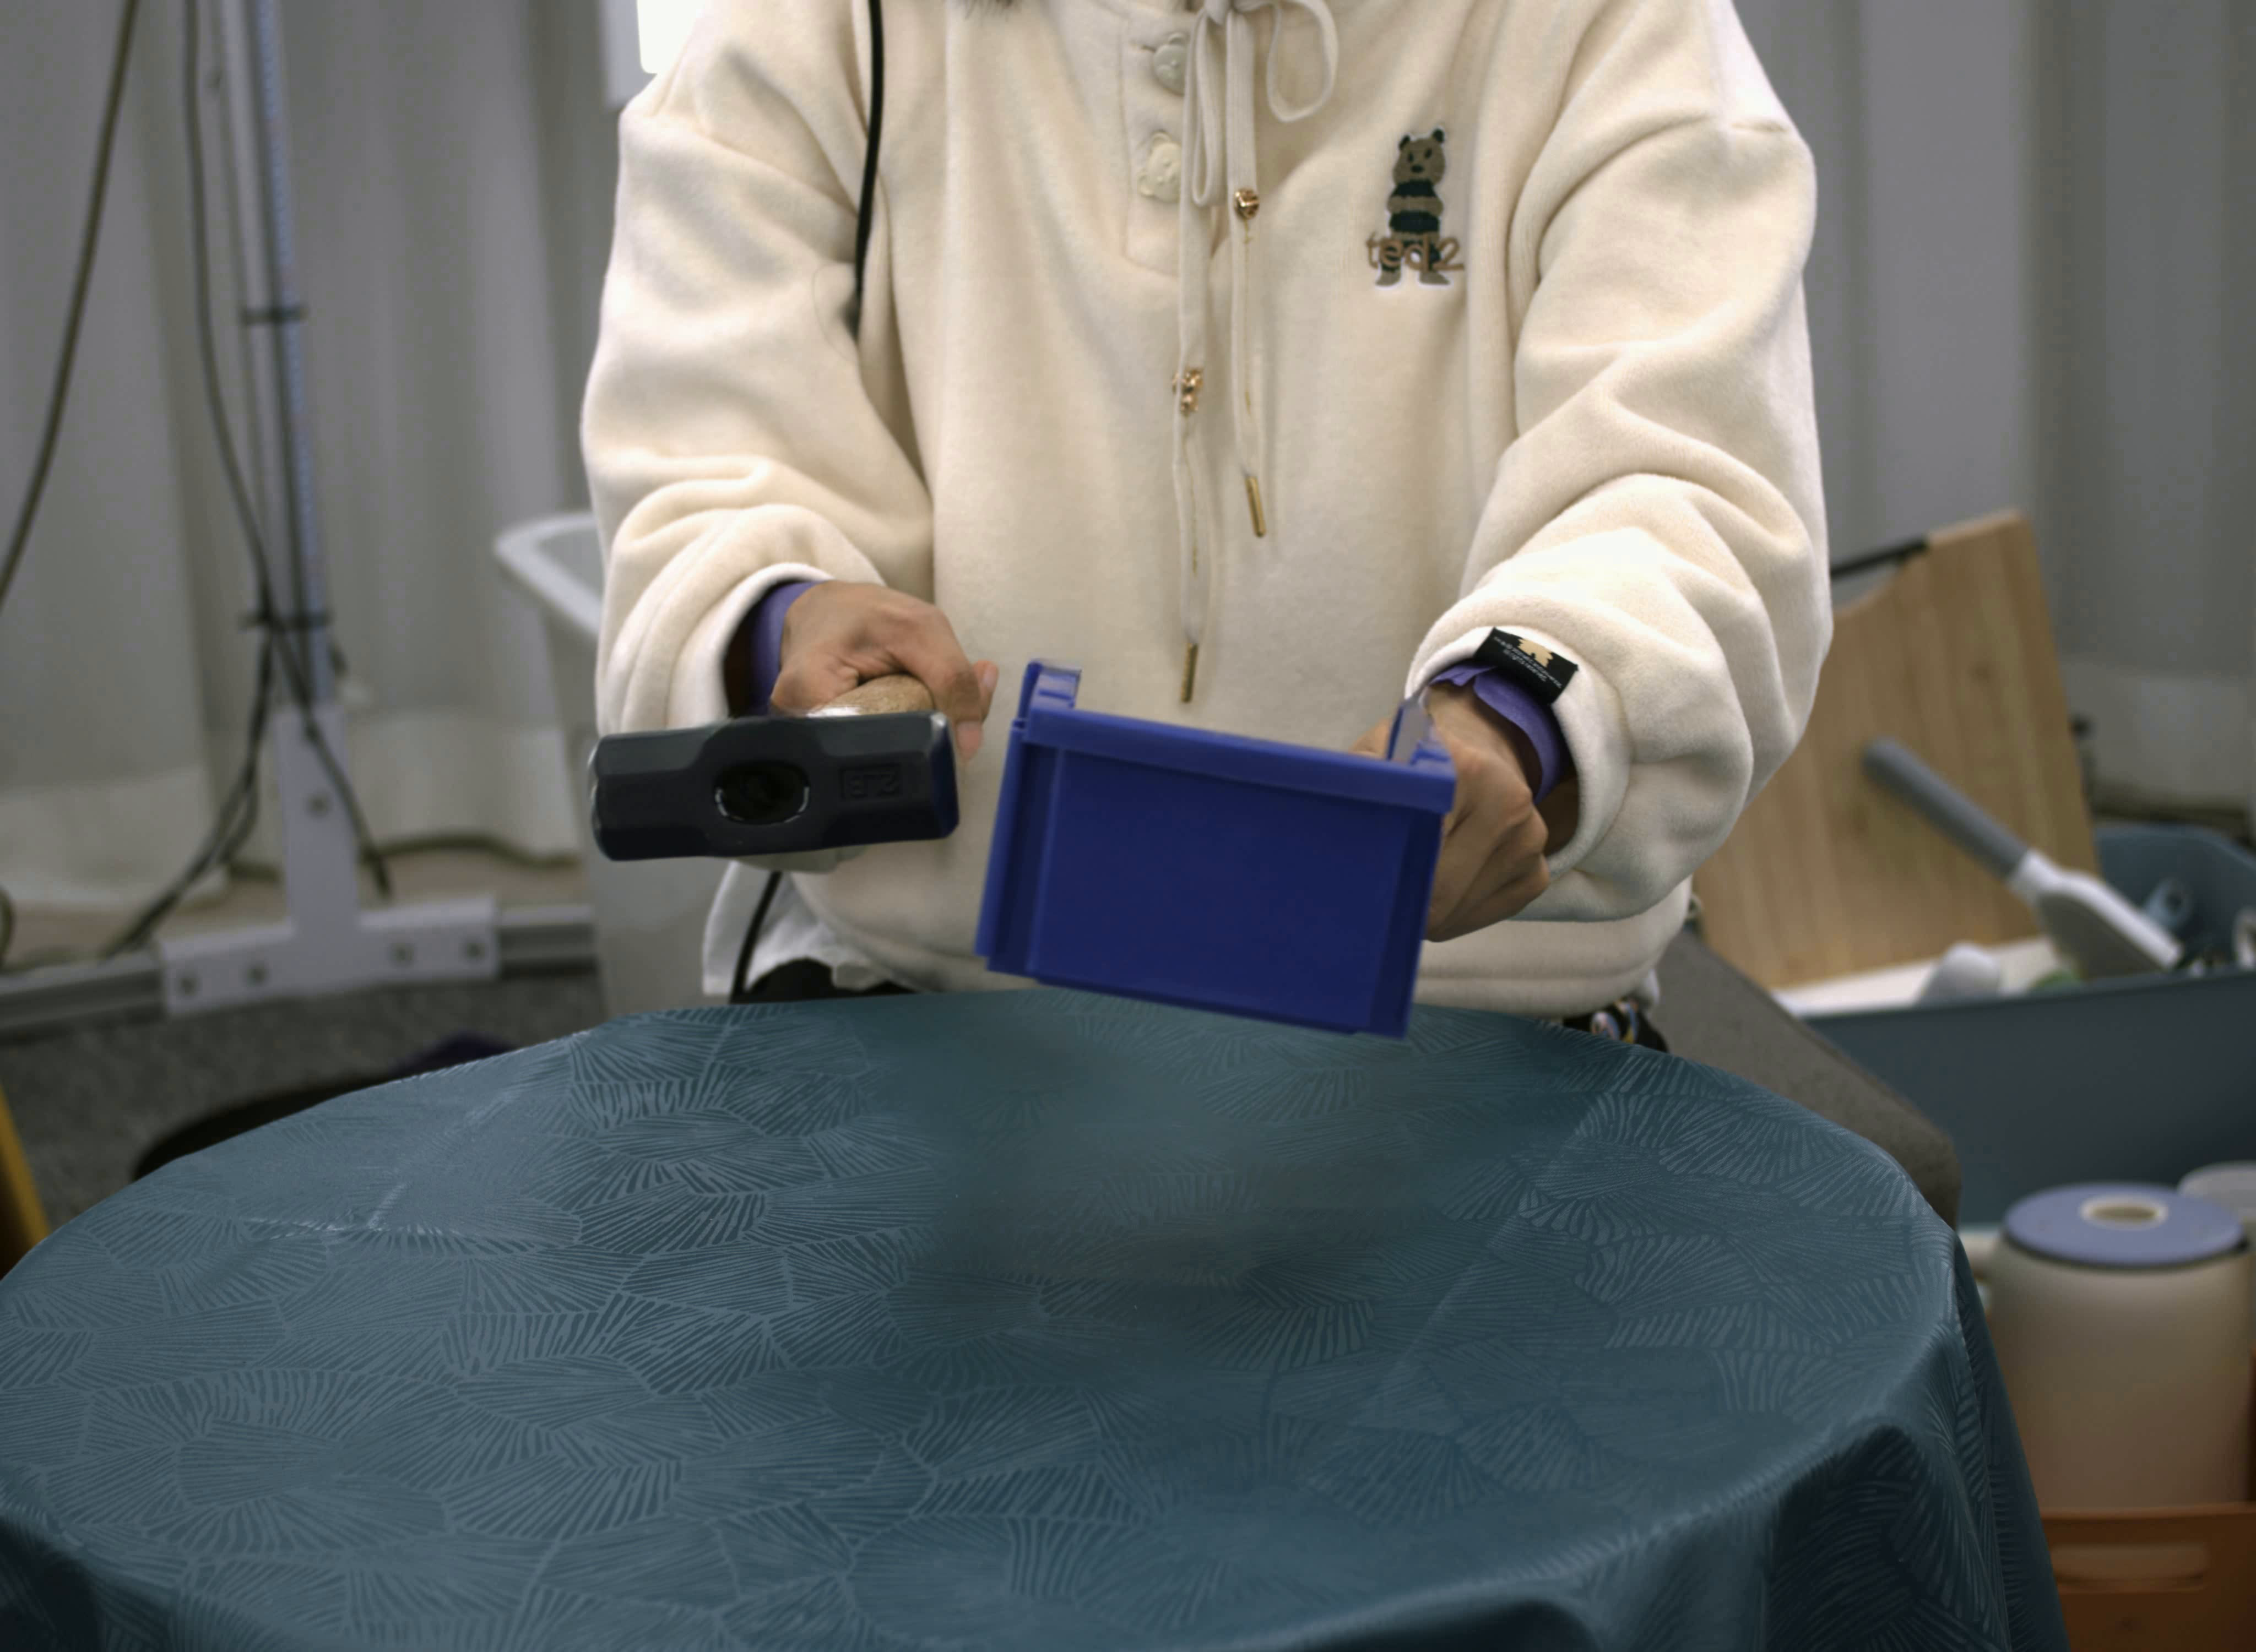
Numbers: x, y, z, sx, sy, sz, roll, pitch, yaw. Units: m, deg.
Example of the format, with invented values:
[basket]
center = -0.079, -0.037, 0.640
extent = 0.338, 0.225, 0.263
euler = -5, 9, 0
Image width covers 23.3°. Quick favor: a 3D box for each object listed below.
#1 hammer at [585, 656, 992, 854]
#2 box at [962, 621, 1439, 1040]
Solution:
[hammer]
center = -0.085, -0.028, 1.736
extent = 0.107, 0.038, 0.305
euler = -3, 6, 9
[box]
center = 0.022, -0.002, 1.606
extent = 0.124, 0.081, 0.180
euler = 10, 13, 0
